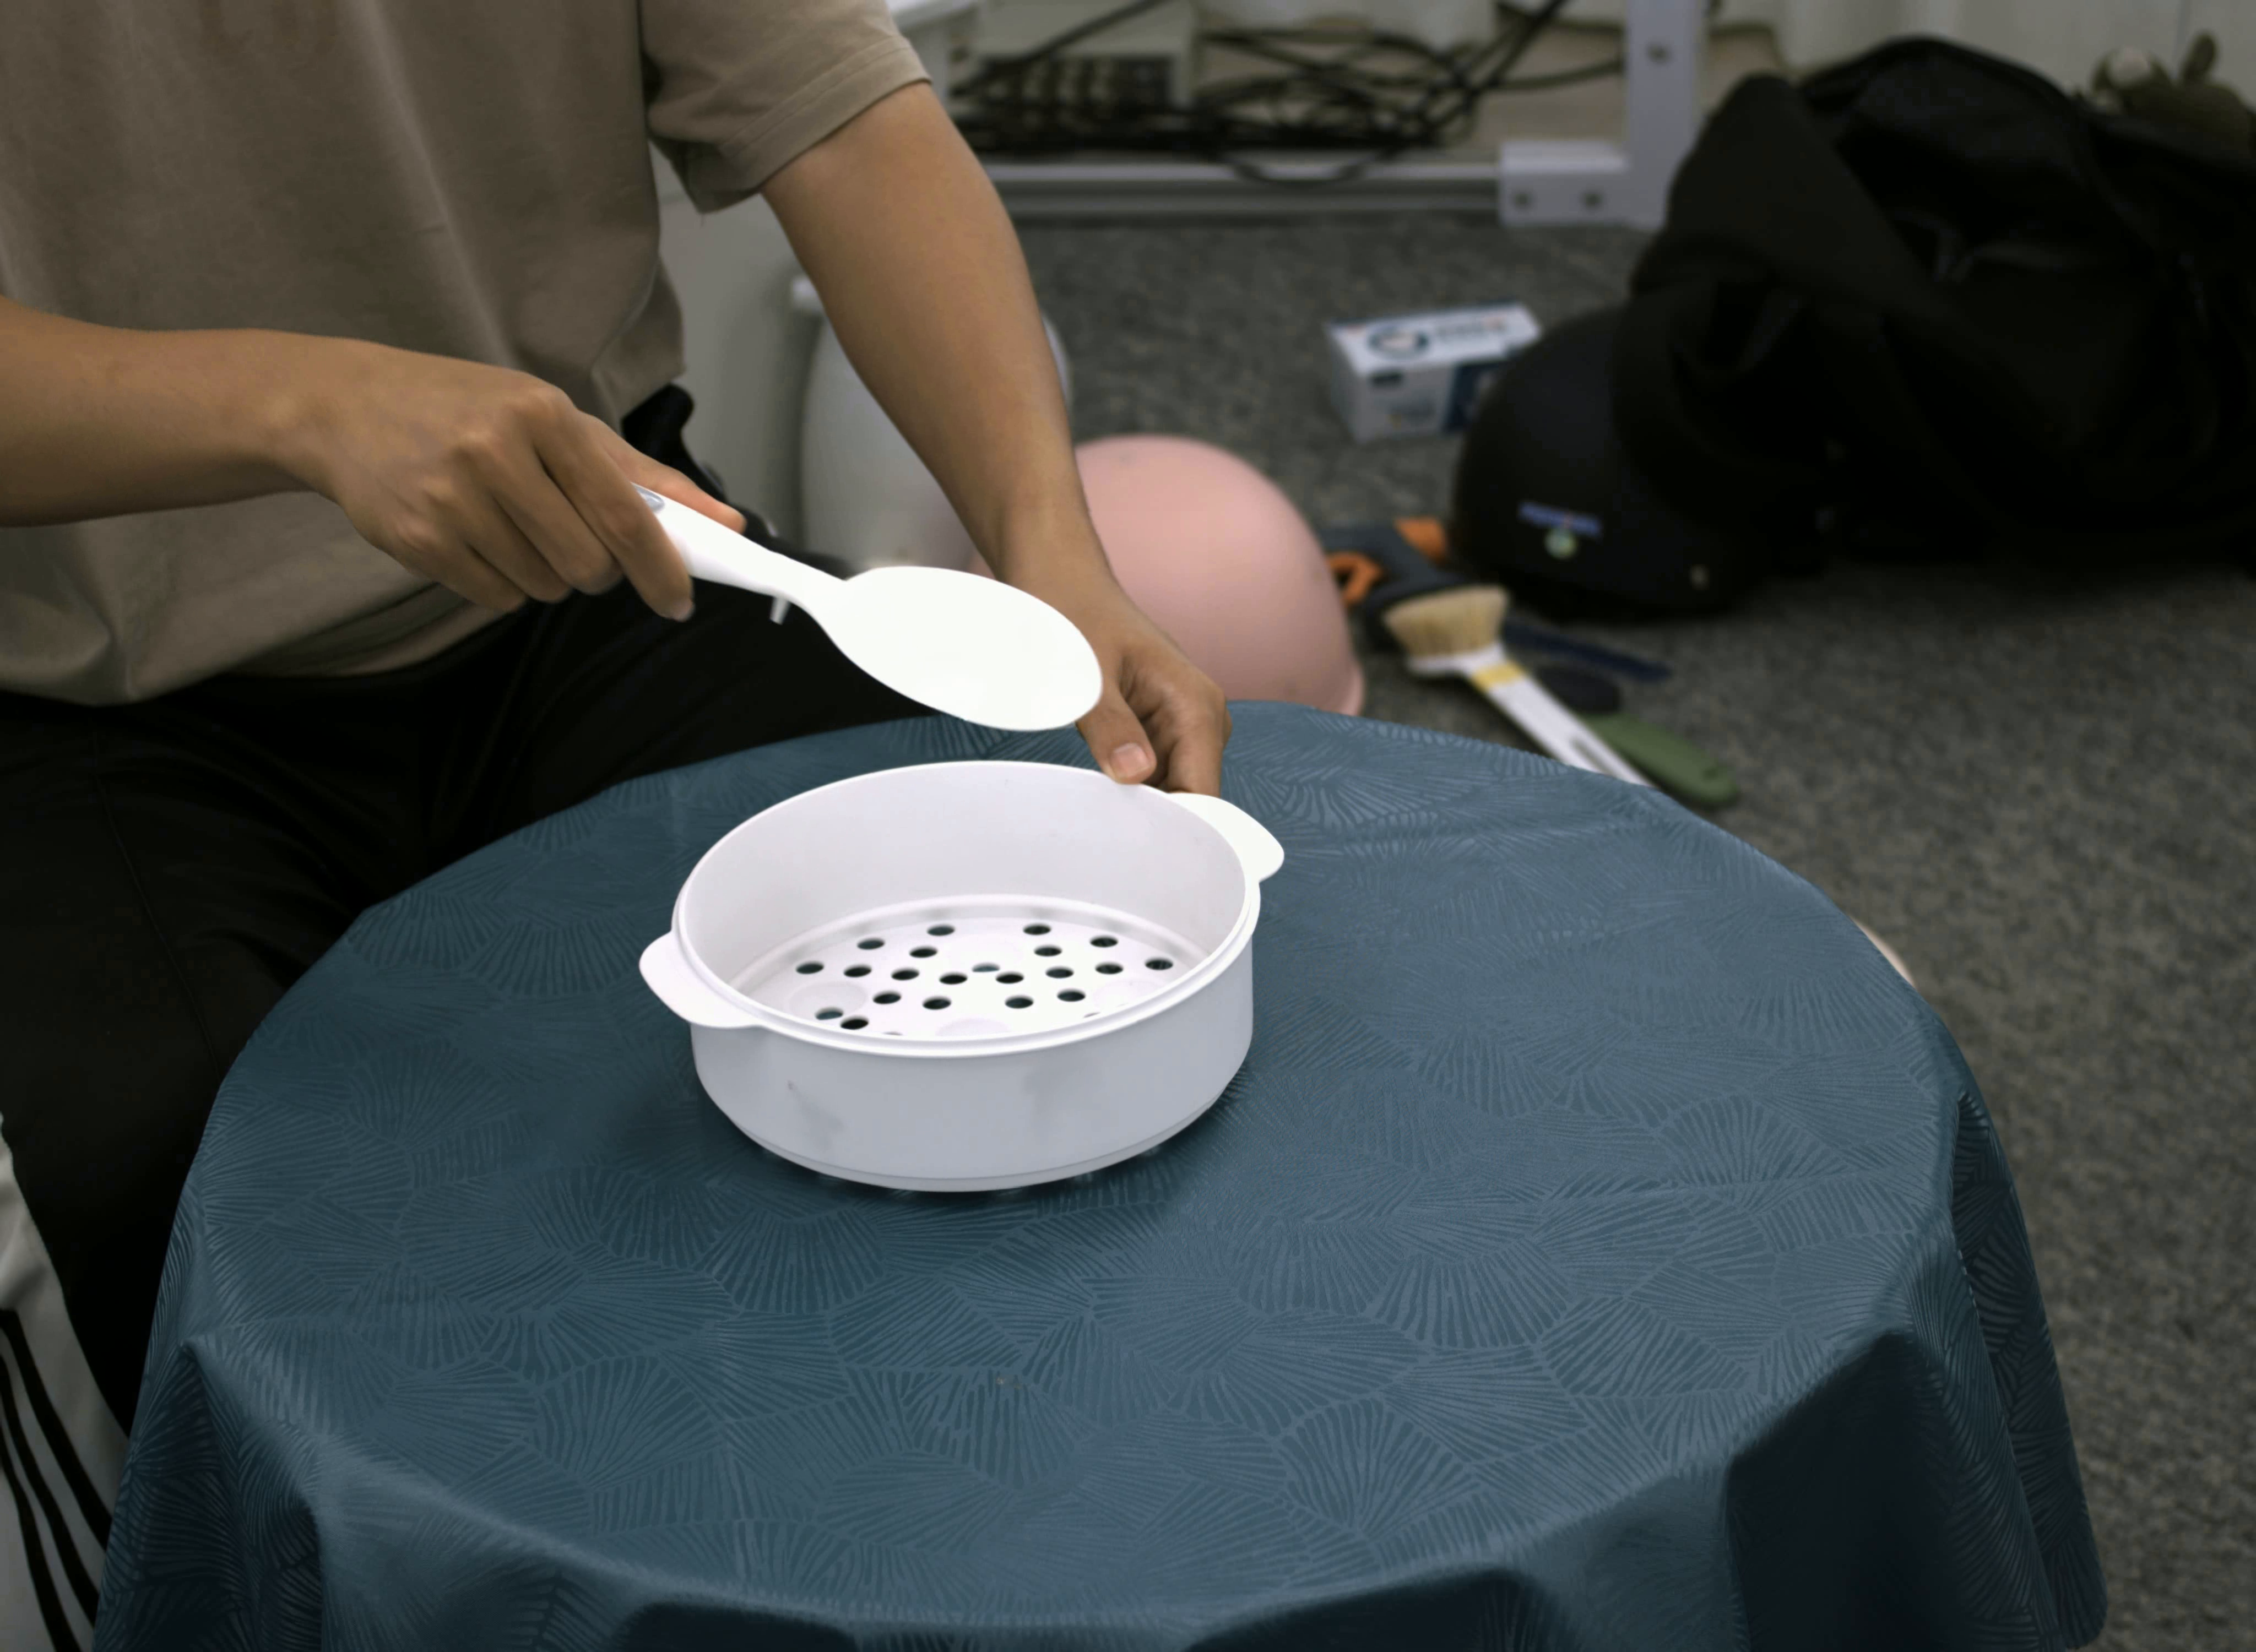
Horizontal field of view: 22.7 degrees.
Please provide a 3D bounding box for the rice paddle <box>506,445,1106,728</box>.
[{"bbox_3d":[-0.103,-0.079,1.851,0.204,0.029,0.070,19,44,2],"label":"rice paddle"}]

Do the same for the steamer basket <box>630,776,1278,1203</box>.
[{"bbox_3d":[-0.058,0.057,1.924,0.231,0.068,0.203,-13,29,-24],"label":"steamer basket"}]
